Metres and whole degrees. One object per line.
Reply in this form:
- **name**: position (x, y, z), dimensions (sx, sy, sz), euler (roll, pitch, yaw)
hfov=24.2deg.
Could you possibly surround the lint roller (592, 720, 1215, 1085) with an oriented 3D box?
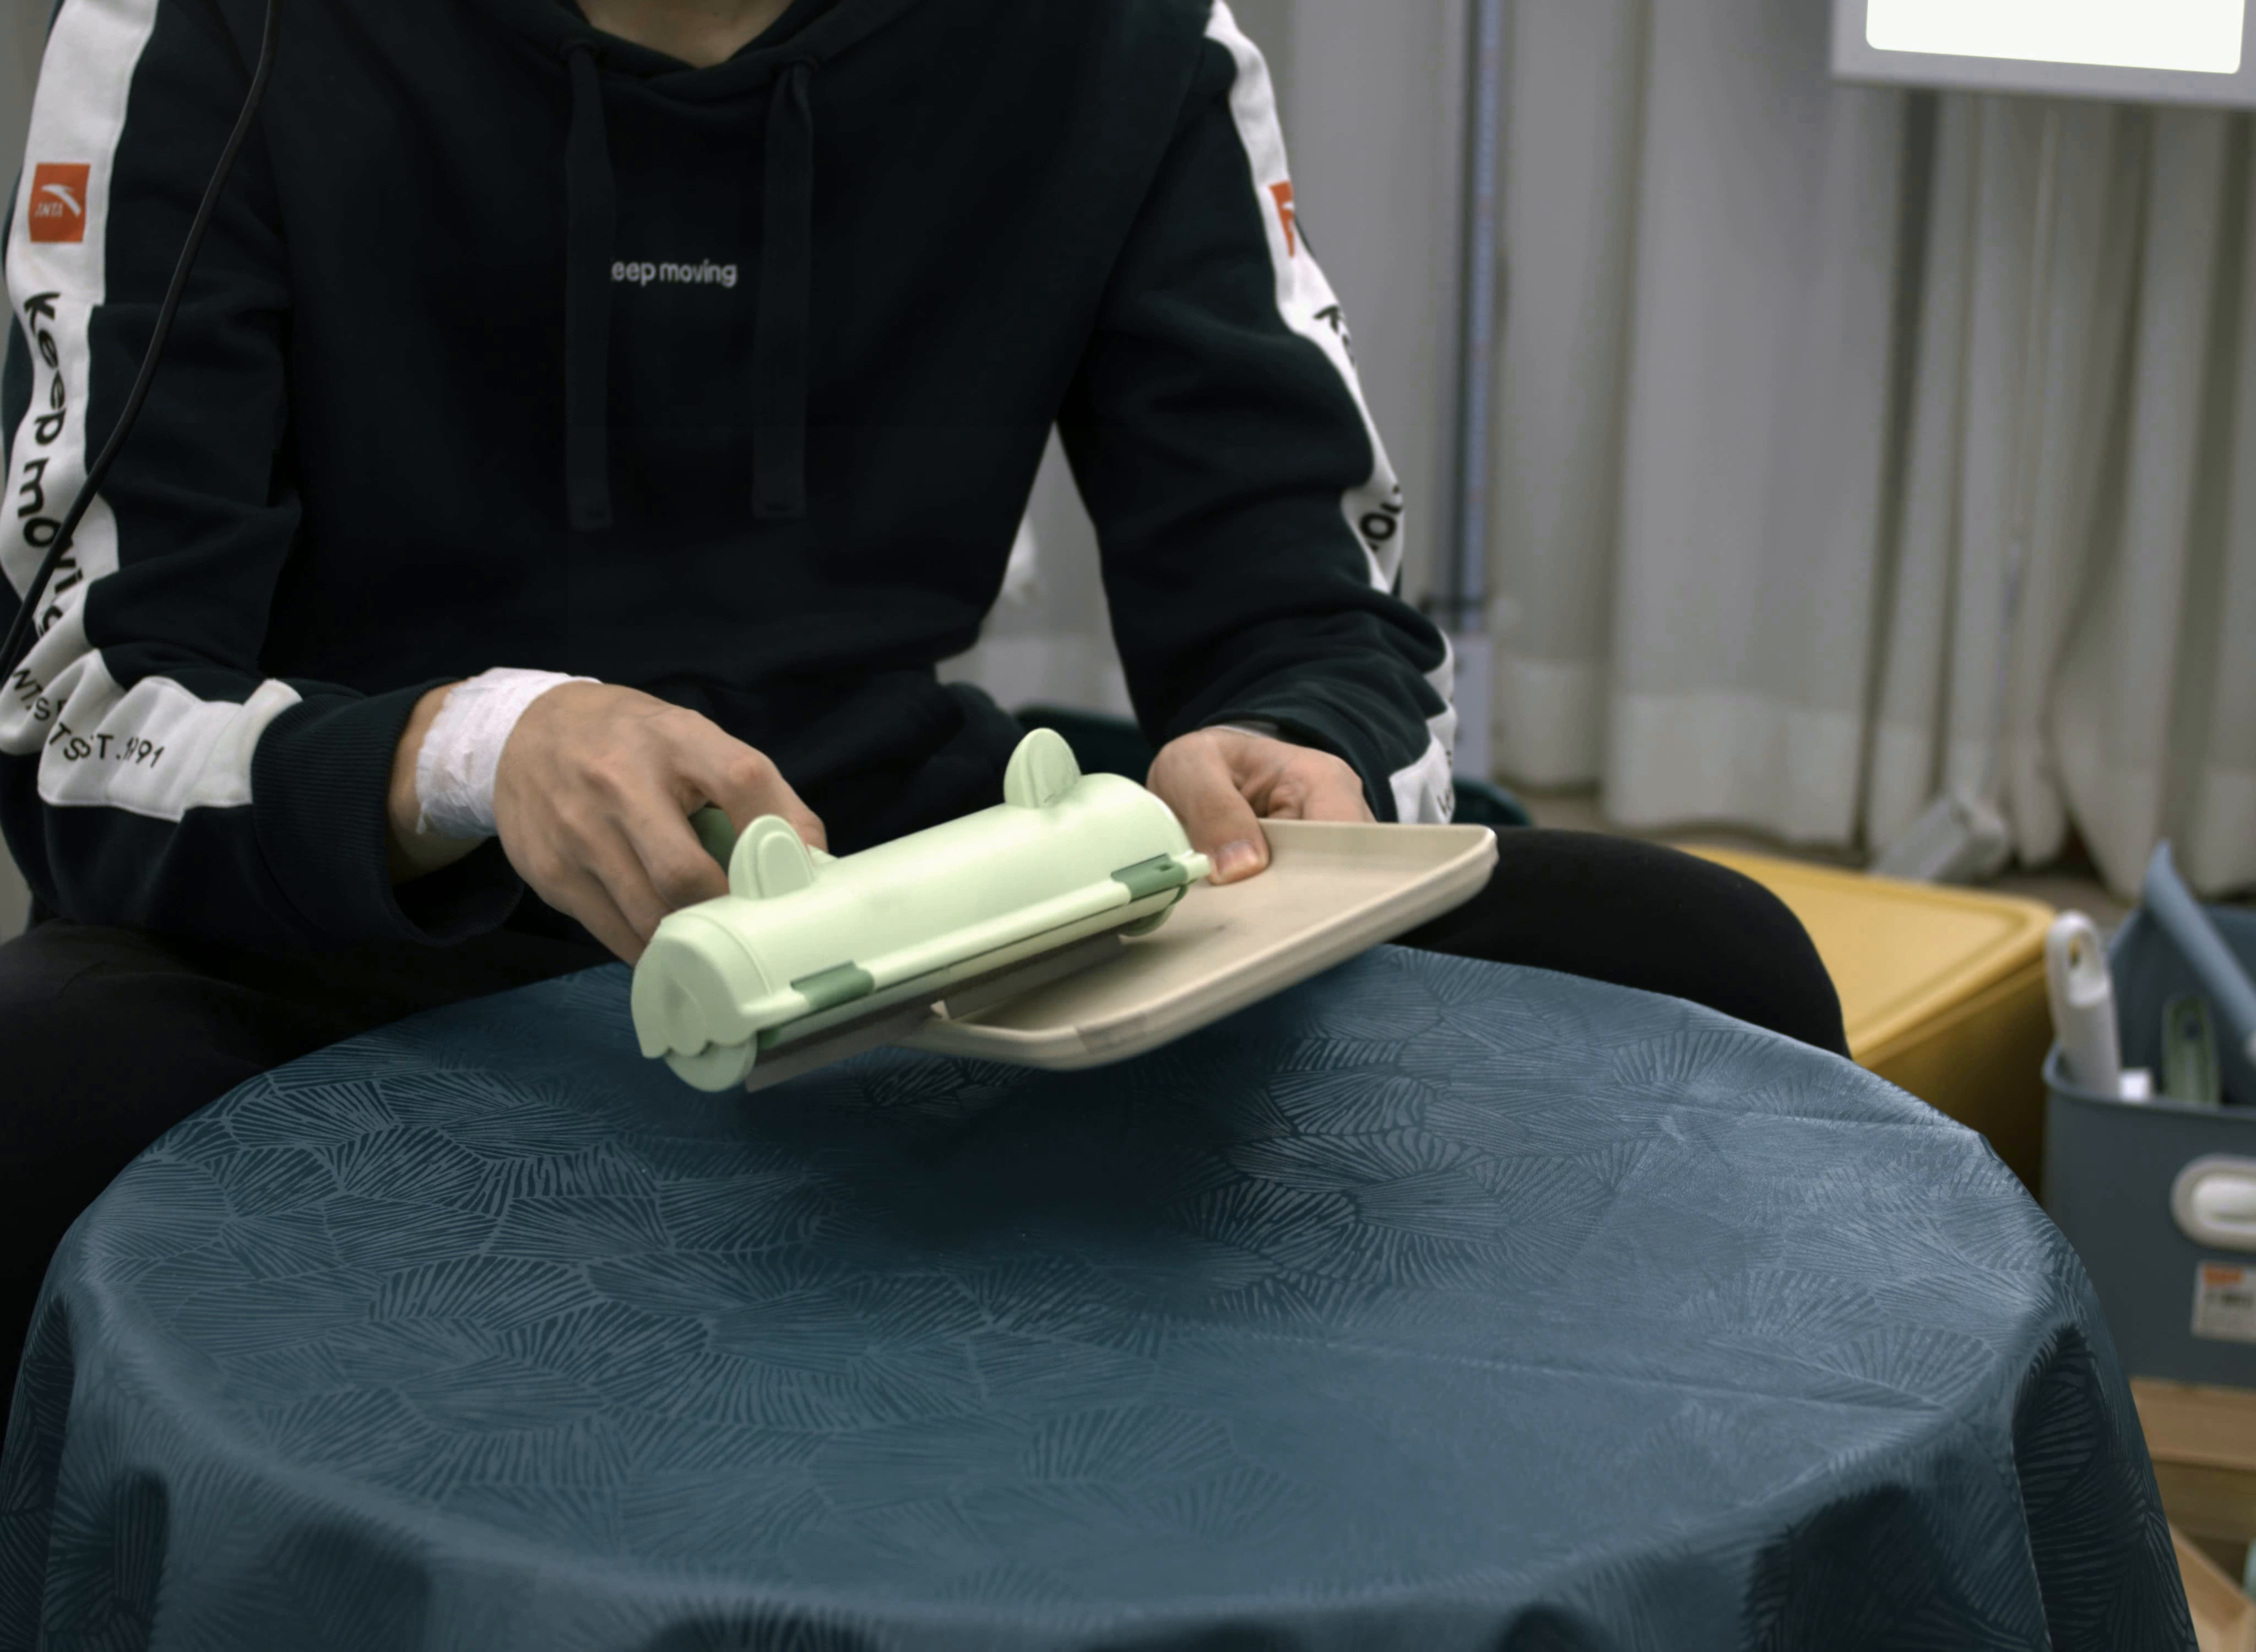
- **lint roller**: position (-0.101, 0.004, 1.620), dimensions (0.181, 0.083, 0.199), euler (25, 30, 38)

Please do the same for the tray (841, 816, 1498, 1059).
- **tray**: position (-0.002, 0.034, 1.646), dimensions (0.171, 0.017, 0.237), euler (-23, 11, -27)
